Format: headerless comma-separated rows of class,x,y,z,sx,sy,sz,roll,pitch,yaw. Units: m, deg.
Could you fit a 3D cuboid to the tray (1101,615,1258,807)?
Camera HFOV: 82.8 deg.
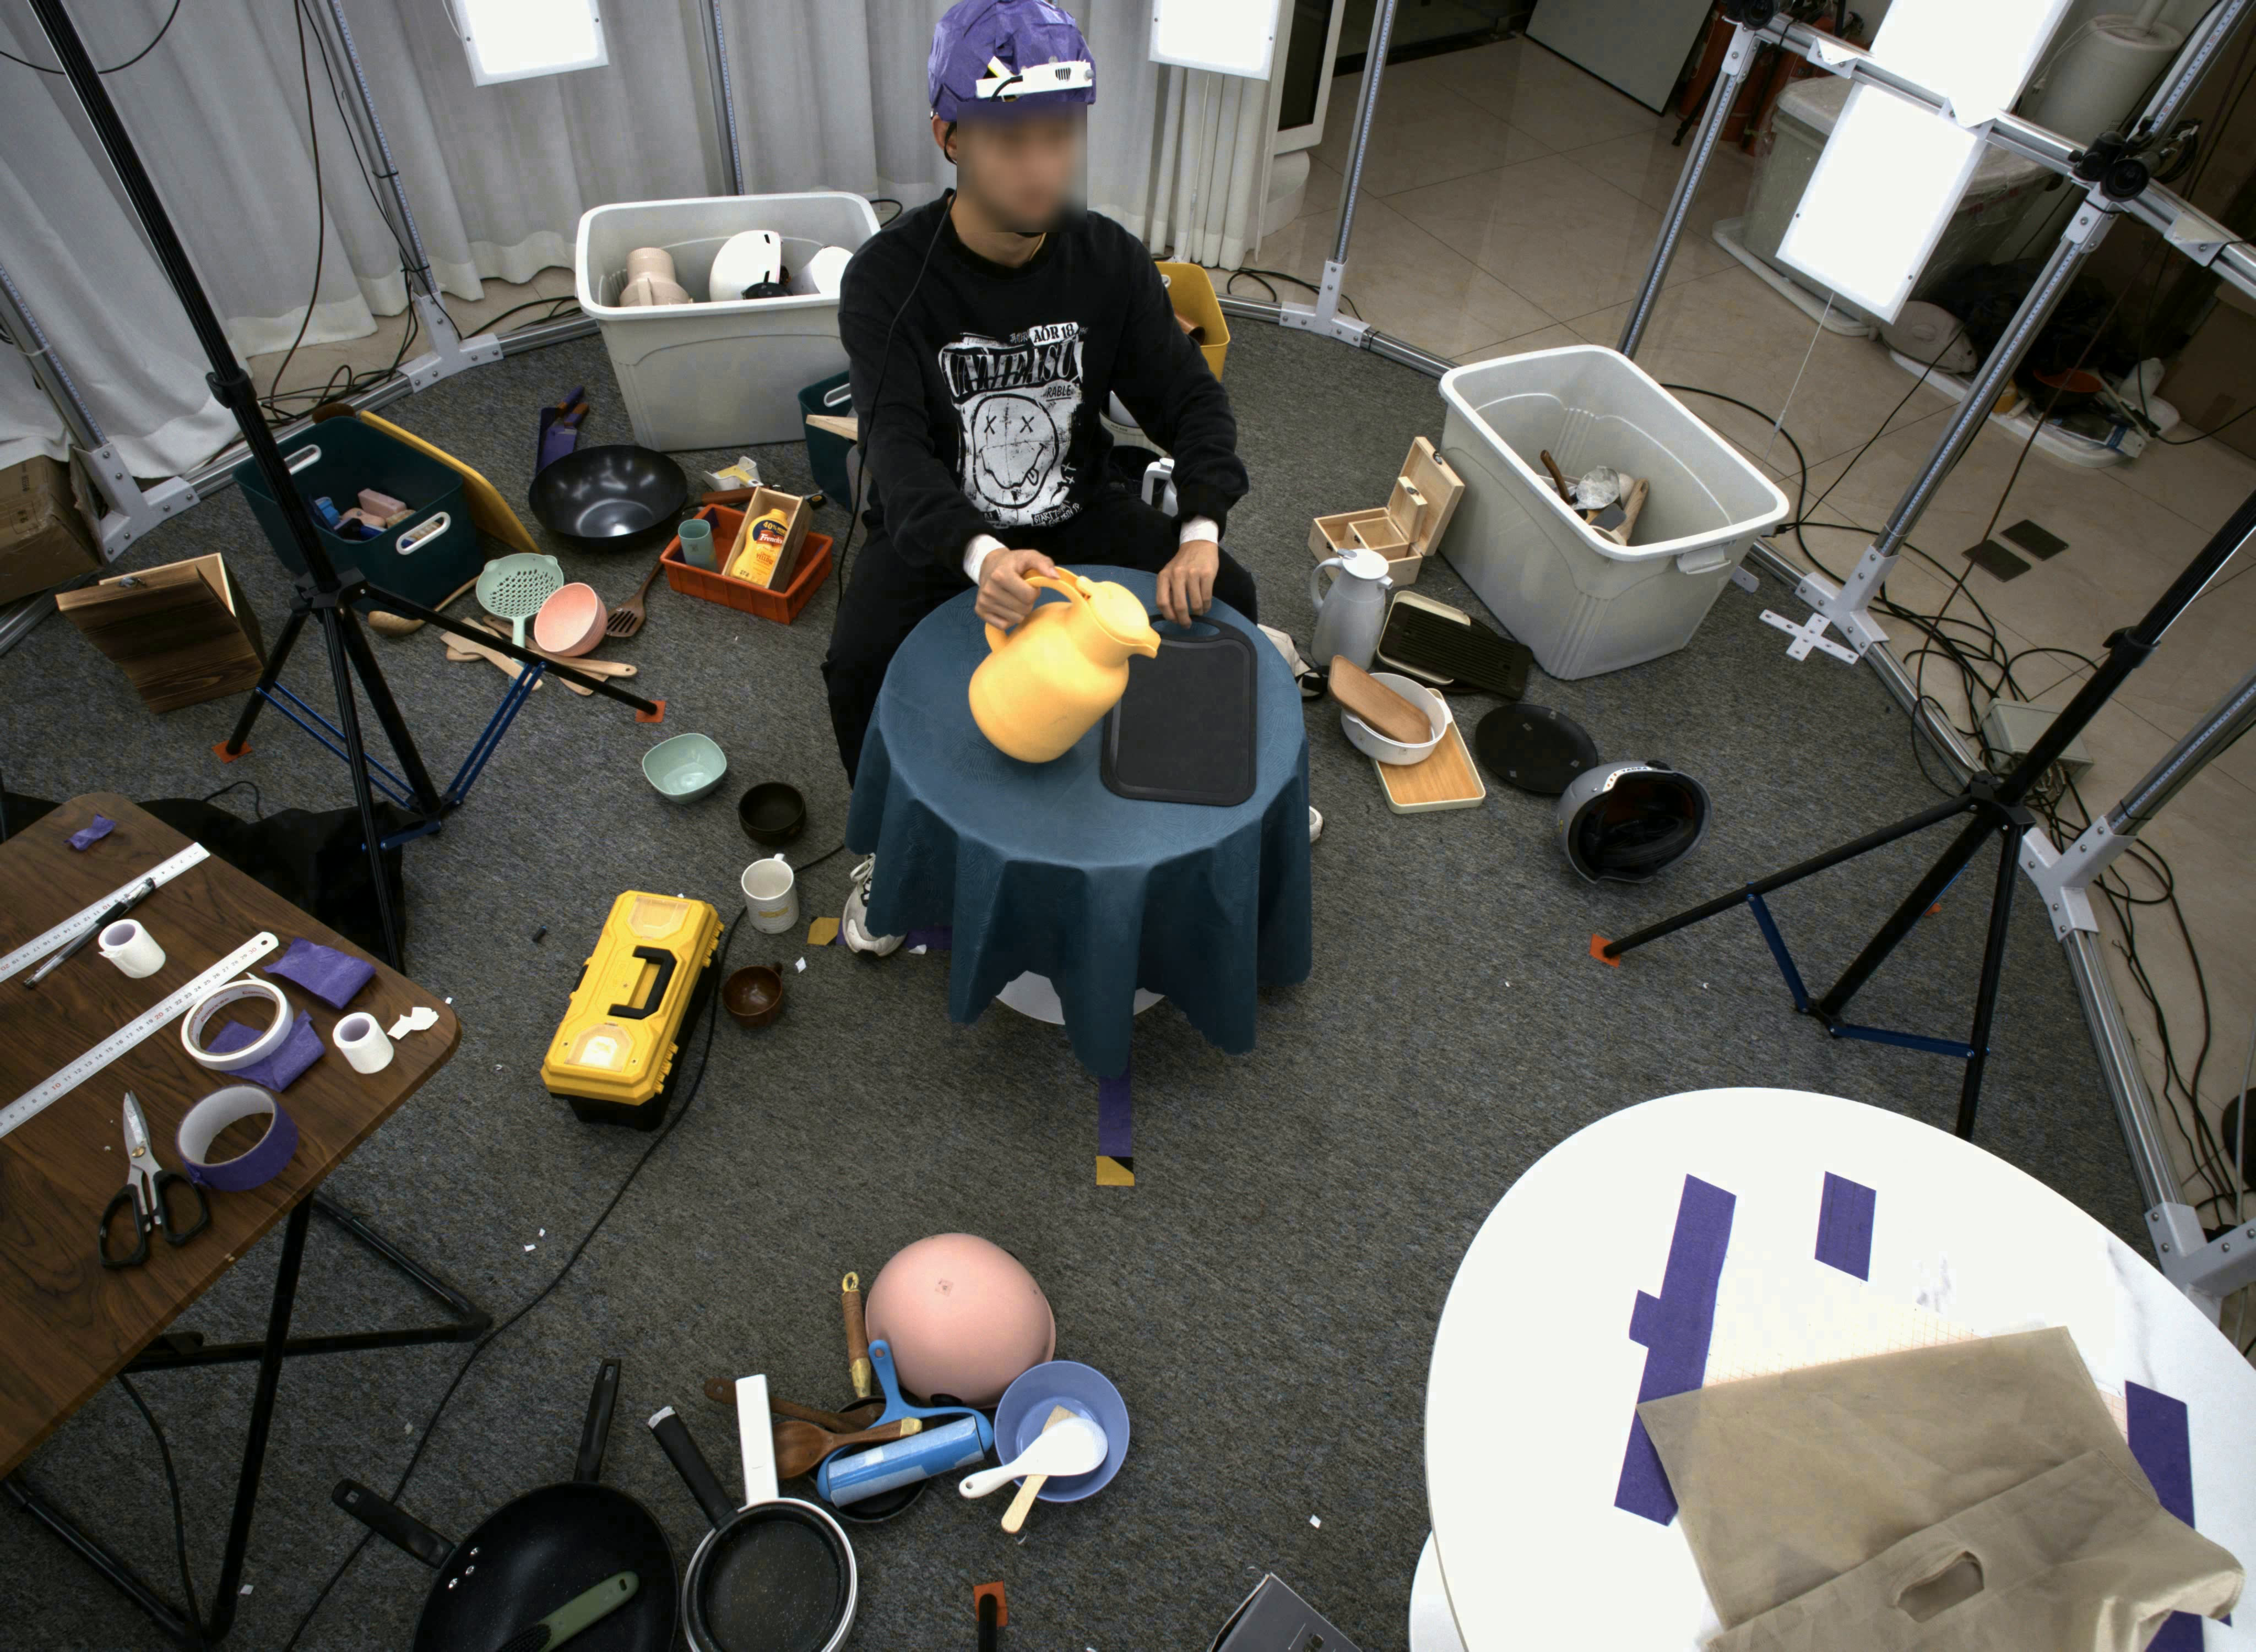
tray,0.075,-0.170,1.788,0.211,0.009,0.333,5,57,0

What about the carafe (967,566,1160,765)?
carafe,-0.097,-0.215,1.650,0.200,0.257,0.167,37,38,-16
